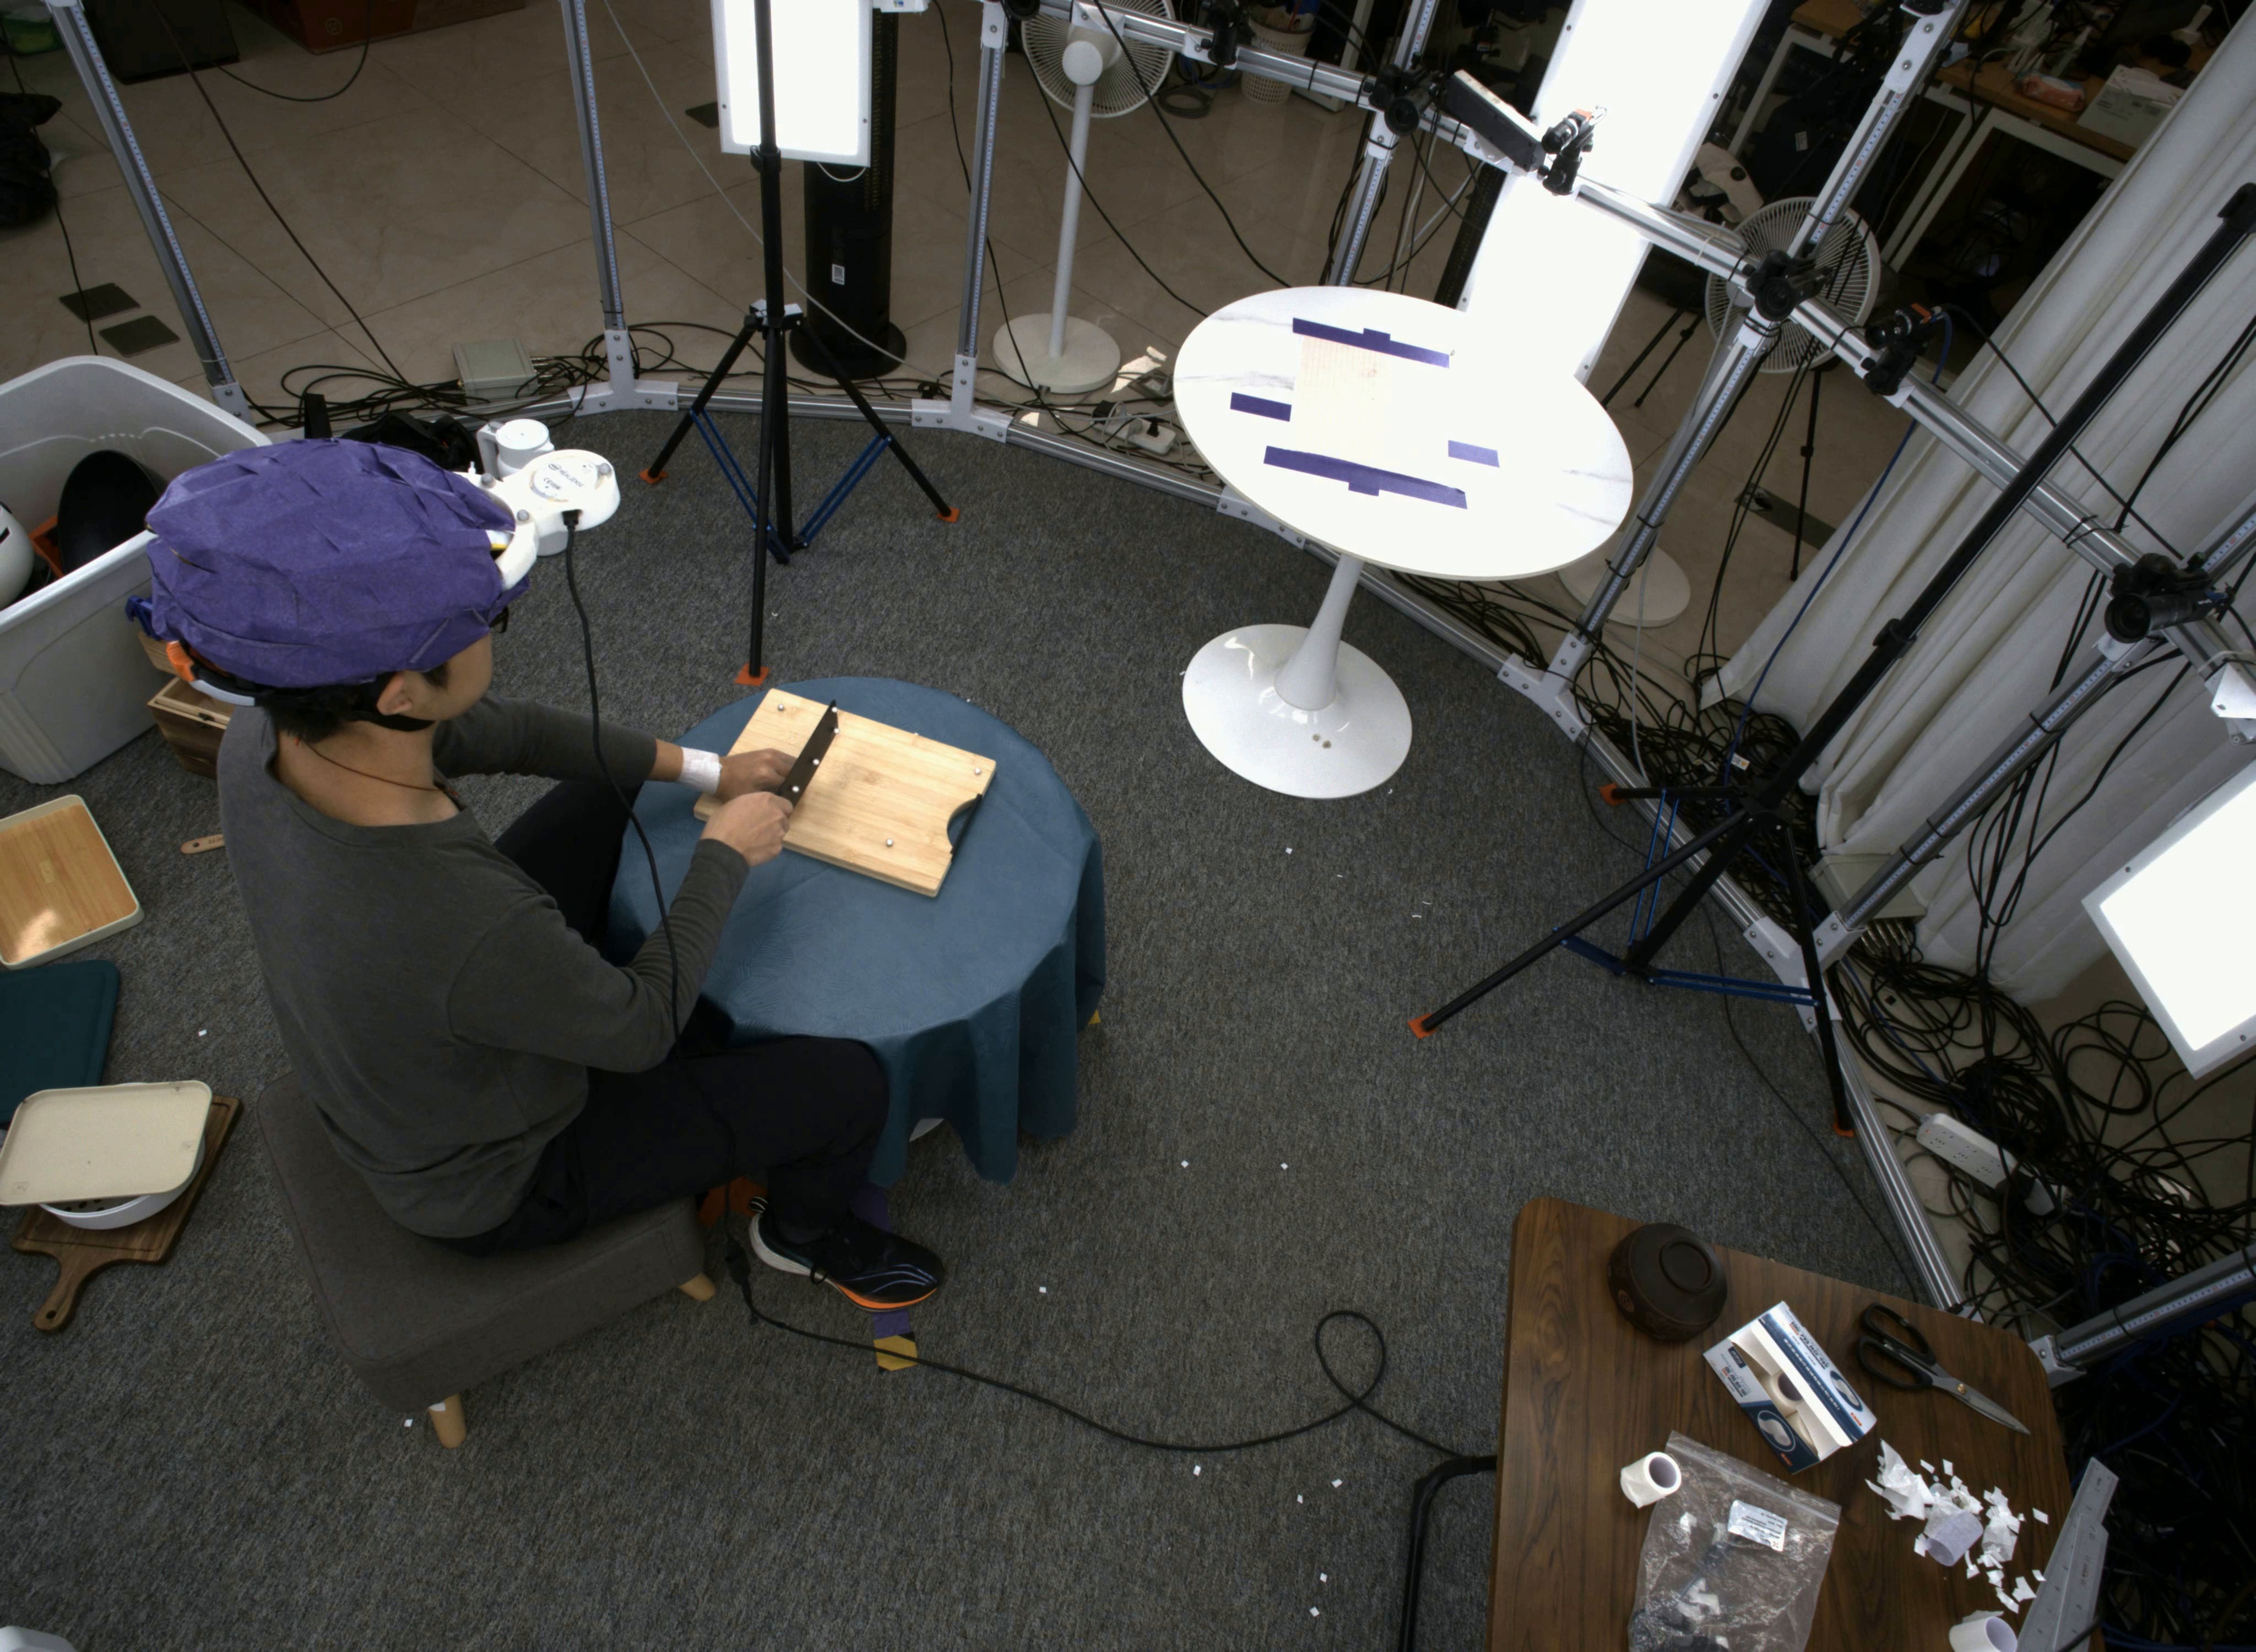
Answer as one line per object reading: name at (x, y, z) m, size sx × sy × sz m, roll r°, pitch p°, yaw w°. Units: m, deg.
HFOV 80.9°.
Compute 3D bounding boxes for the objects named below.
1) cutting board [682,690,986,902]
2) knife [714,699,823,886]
cutting board at (-0.394, -0.047, 1.767) m, size 0.346 × 0.024 × 0.248 m, roll 17°, pitch 52°, yaw -1°
knife at (-0.451, -0.042, 1.646) m, size 0.020 × 0.083 × 0.299 m, roll 13°, pitch 47°, yaw 7°
